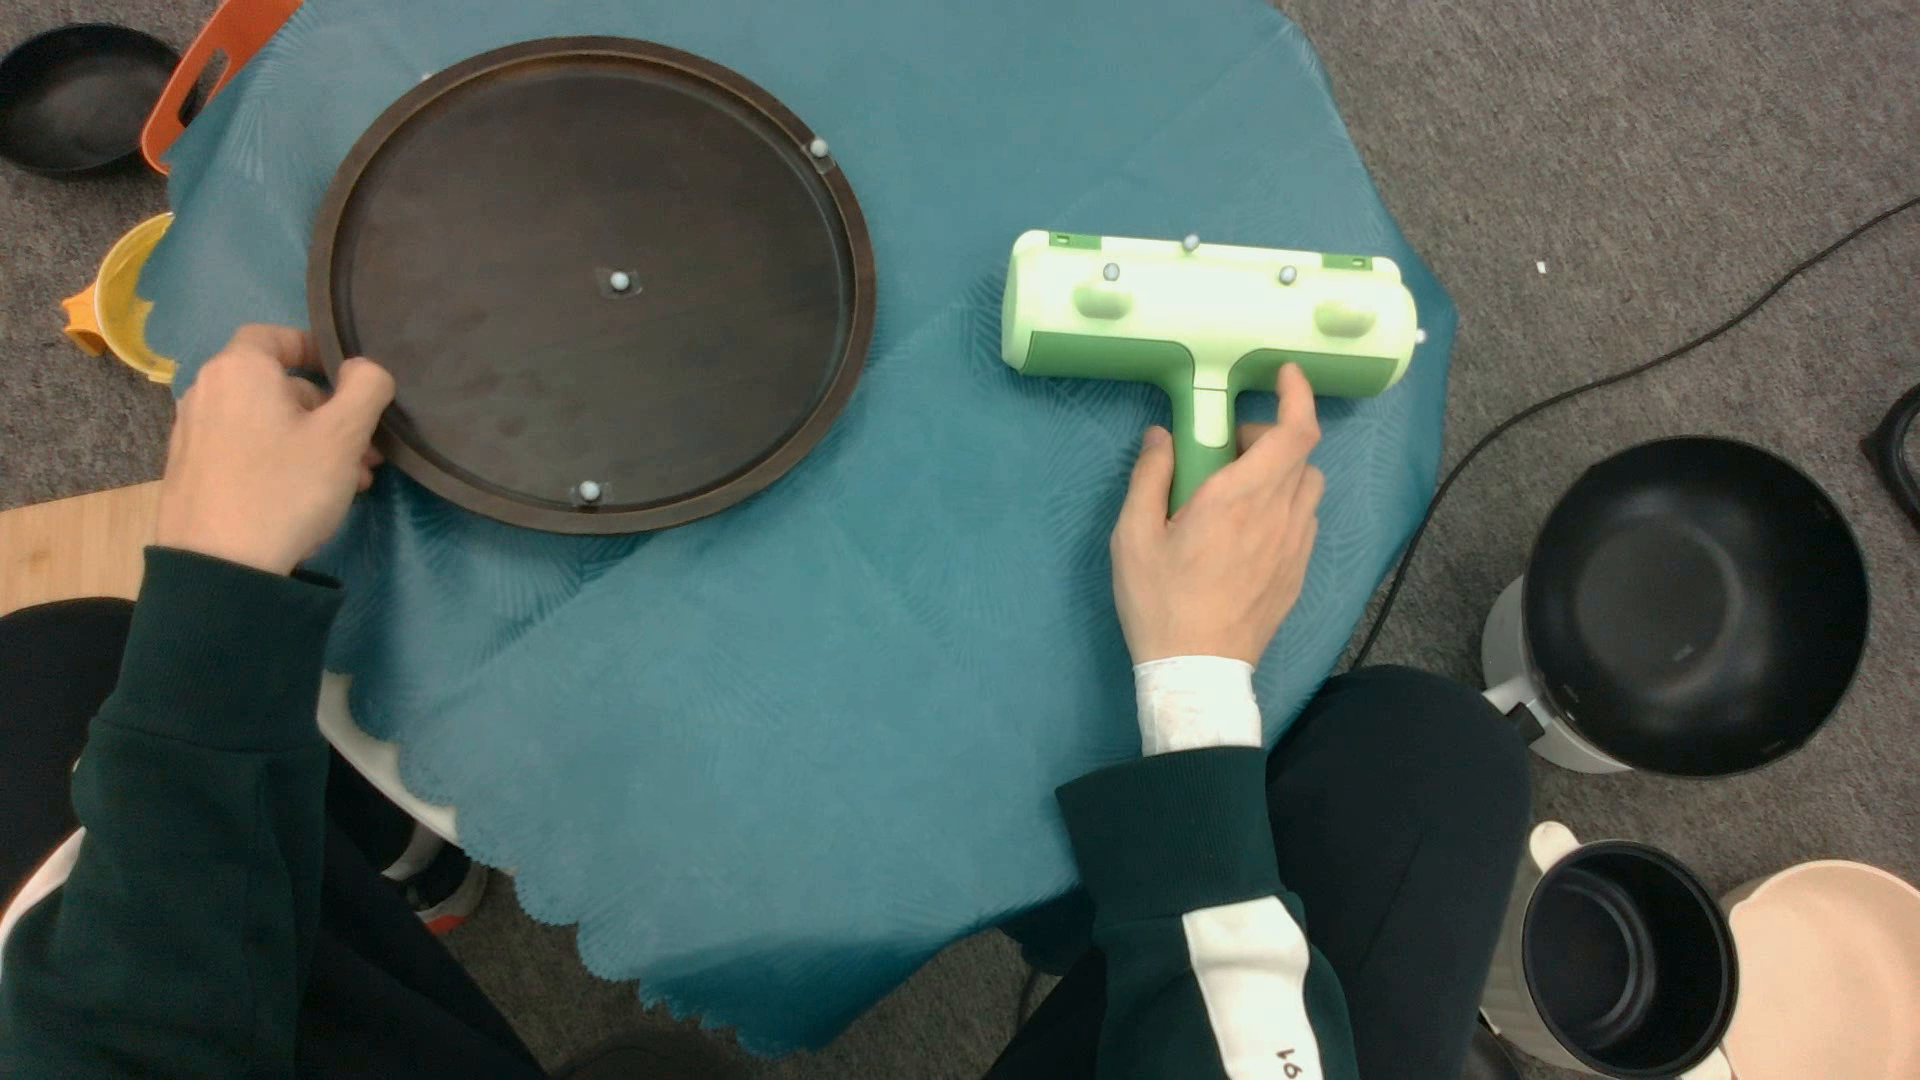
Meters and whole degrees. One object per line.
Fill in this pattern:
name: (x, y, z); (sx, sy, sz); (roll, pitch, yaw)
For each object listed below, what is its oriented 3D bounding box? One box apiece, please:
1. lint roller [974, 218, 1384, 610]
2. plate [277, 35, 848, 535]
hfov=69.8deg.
lint roller: (0.108, -0.064, 0.647); (0.199, 0.082, 0.184); (2, 71, -9)
plate: (-0.179, -0.122, 0.640); (0.255, 0.029, 0.255); (4, 71, -11)
